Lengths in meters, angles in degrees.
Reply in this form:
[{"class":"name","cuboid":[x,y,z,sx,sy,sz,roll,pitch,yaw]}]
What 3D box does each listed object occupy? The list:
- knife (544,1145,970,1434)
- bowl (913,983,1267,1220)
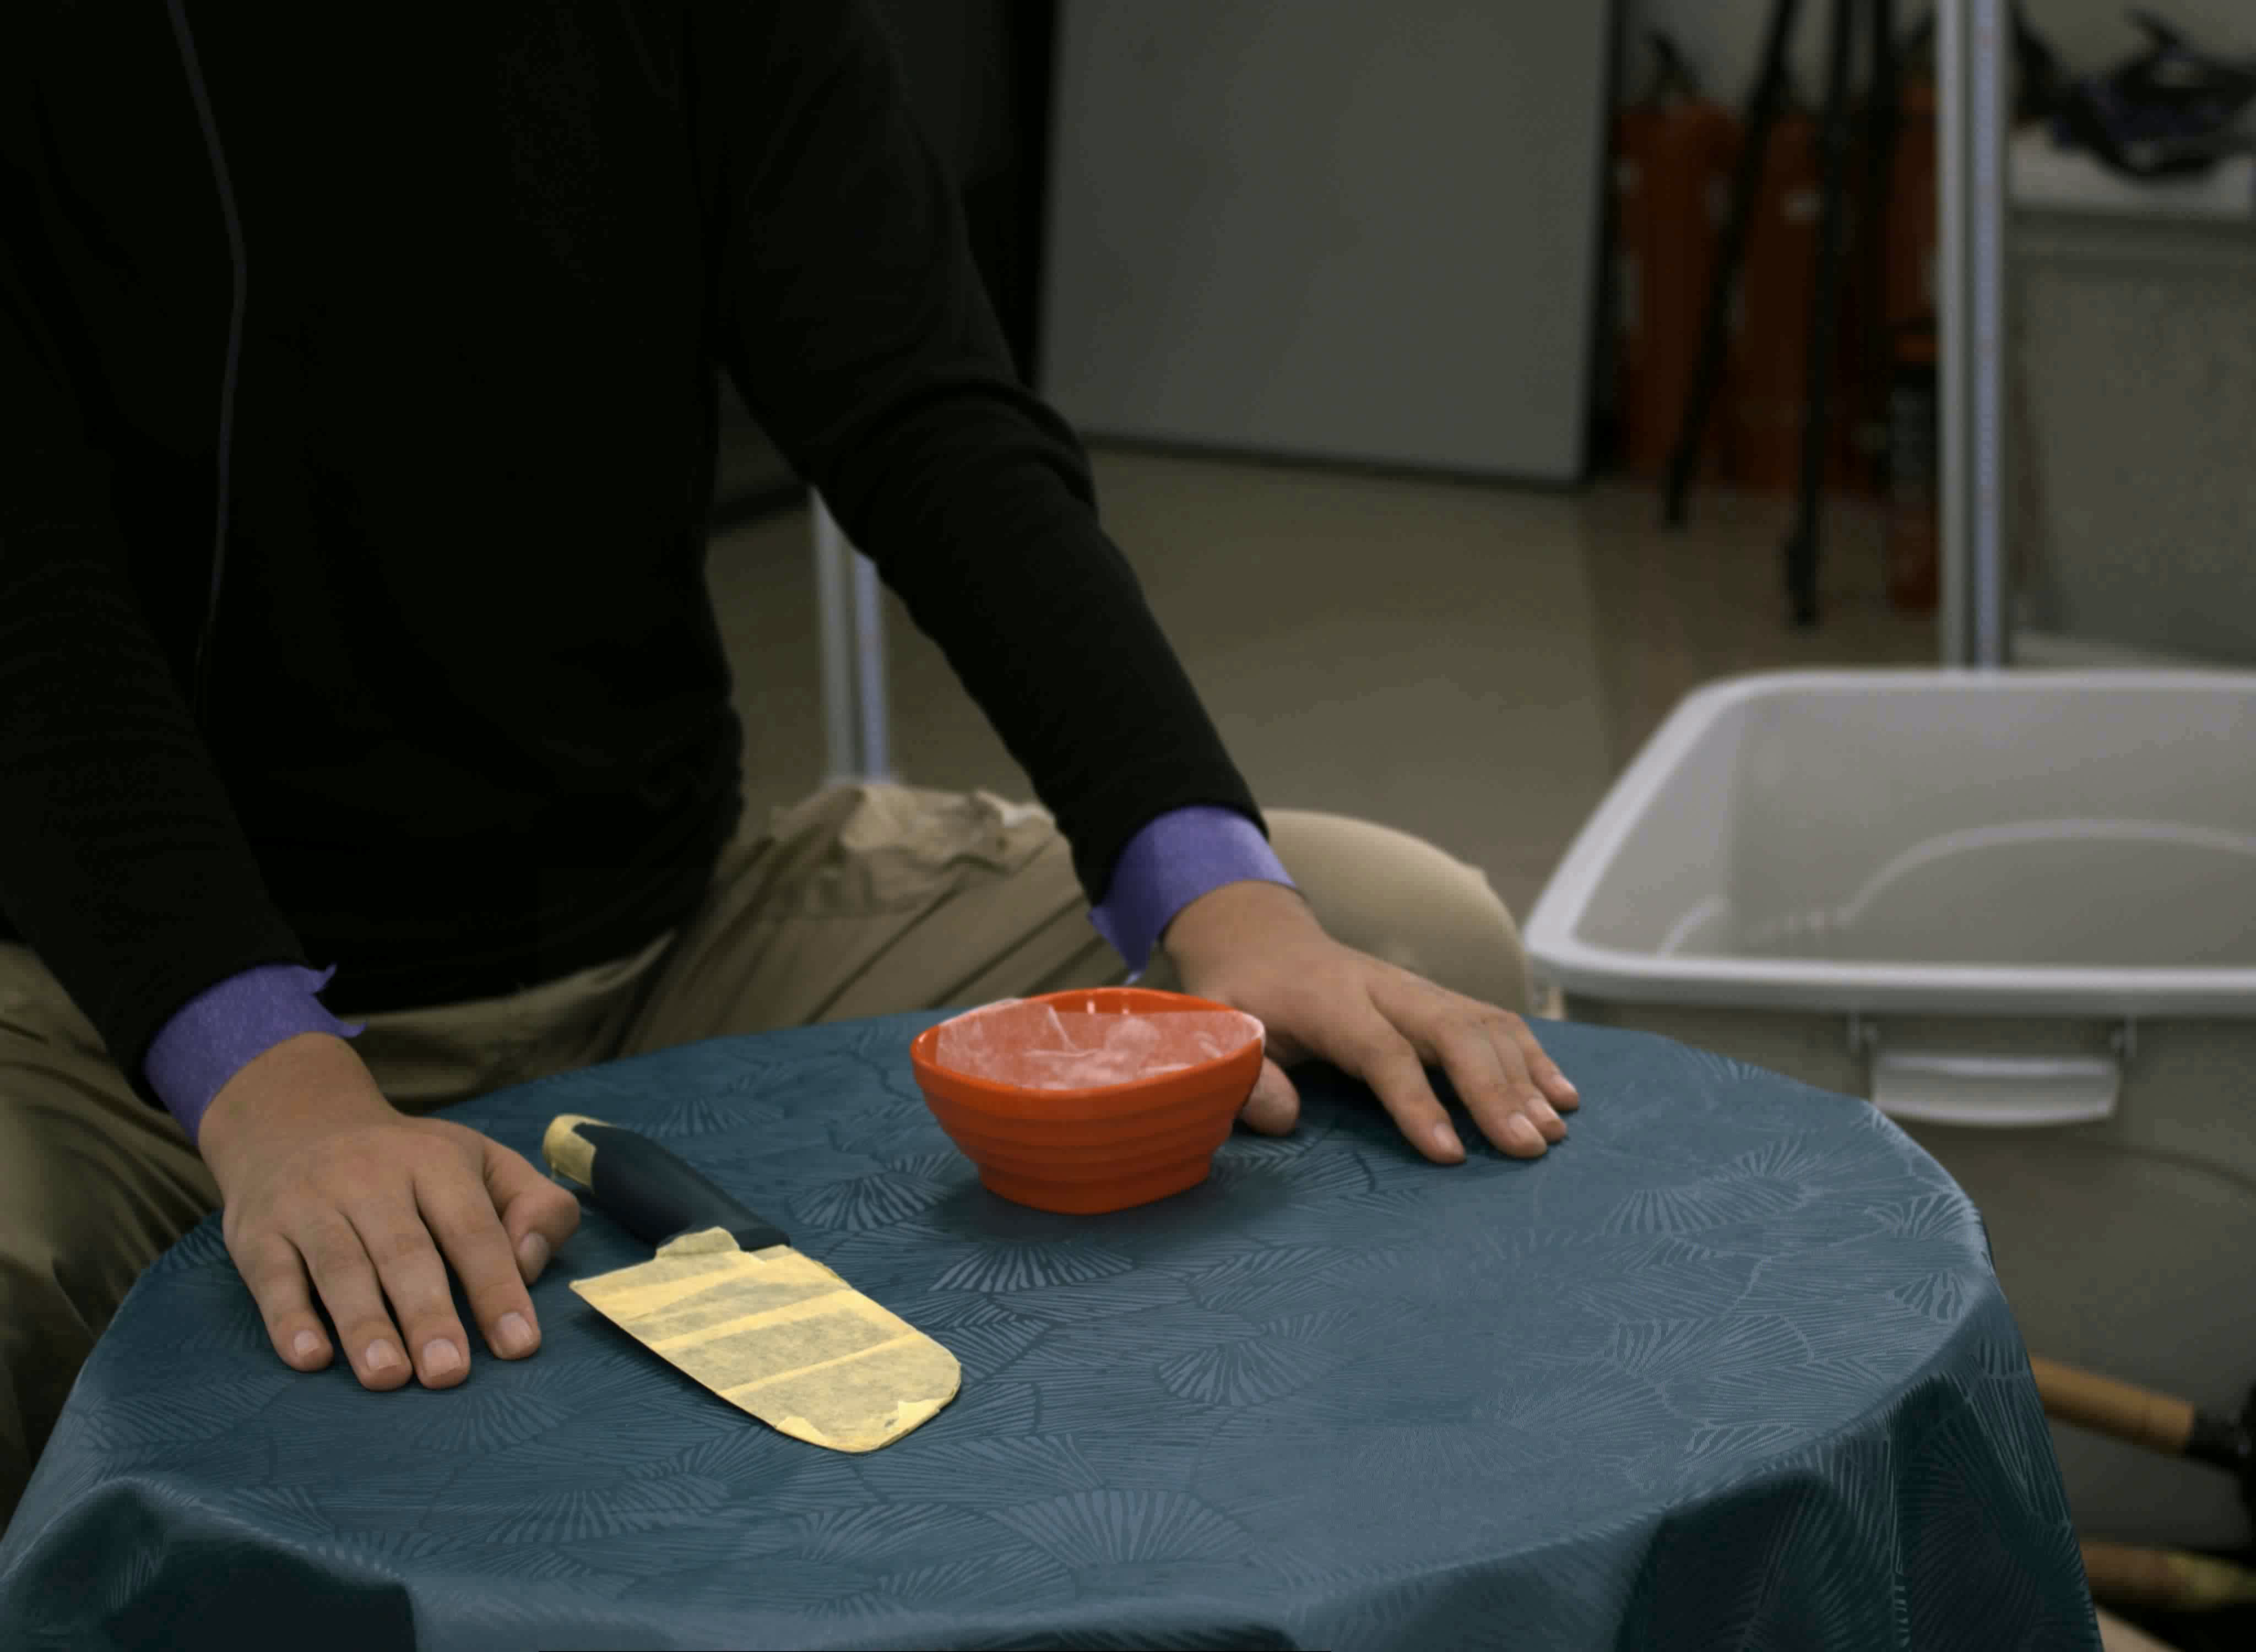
[{"class":"knife","cuboid":[-0.130,0.146,1.687,0.079,0.027,0.292,-9,16,-25]},{"class":"bowl","cuboid":[-0.011,0.093,1.782,0.117,0.052,0.119,-5,16,0]}]
